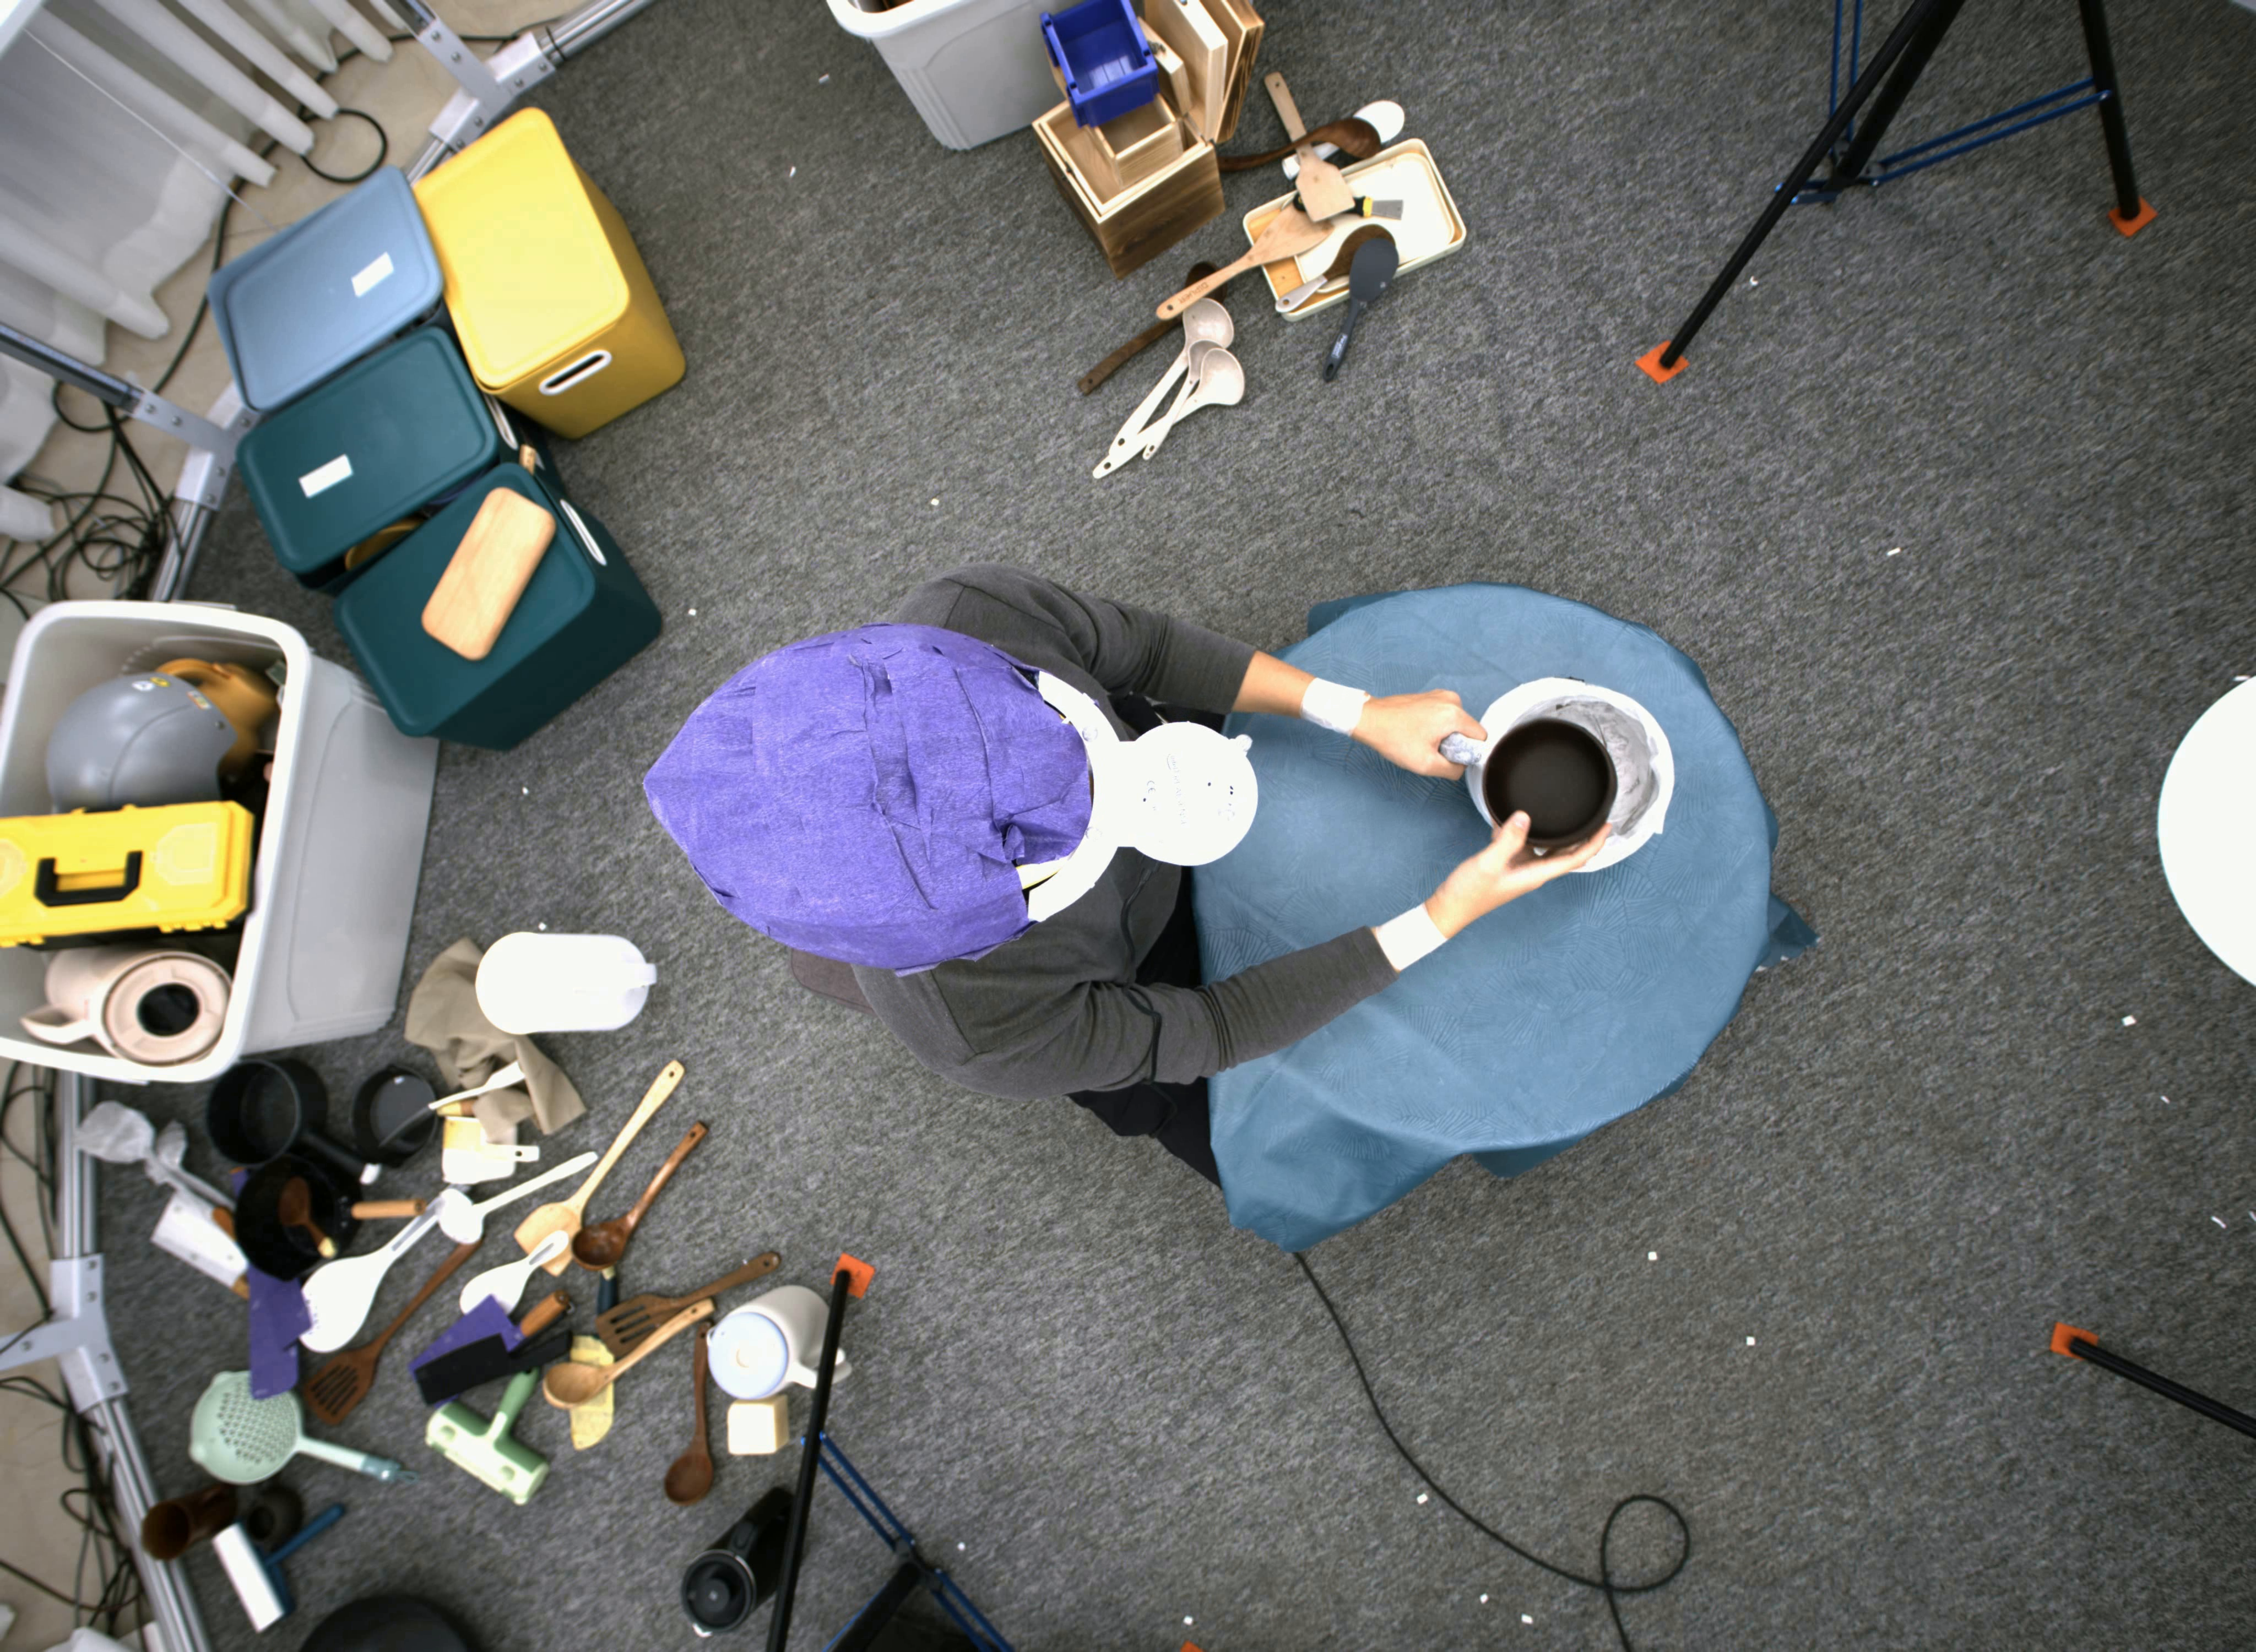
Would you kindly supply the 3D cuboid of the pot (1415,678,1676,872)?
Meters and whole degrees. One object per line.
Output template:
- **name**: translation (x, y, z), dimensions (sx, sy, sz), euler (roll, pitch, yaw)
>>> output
- **pot**: translation (0.402, -0.062, 1.349), dimensions (0.234, 0.135, 0.181), euler (12, 103, 1)

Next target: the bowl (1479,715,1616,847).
- **bowl**: translation (0.385, -0.040, 1.245), dimensions (0.119, 0.070, 0.117), euler (-4, 82, 30)
